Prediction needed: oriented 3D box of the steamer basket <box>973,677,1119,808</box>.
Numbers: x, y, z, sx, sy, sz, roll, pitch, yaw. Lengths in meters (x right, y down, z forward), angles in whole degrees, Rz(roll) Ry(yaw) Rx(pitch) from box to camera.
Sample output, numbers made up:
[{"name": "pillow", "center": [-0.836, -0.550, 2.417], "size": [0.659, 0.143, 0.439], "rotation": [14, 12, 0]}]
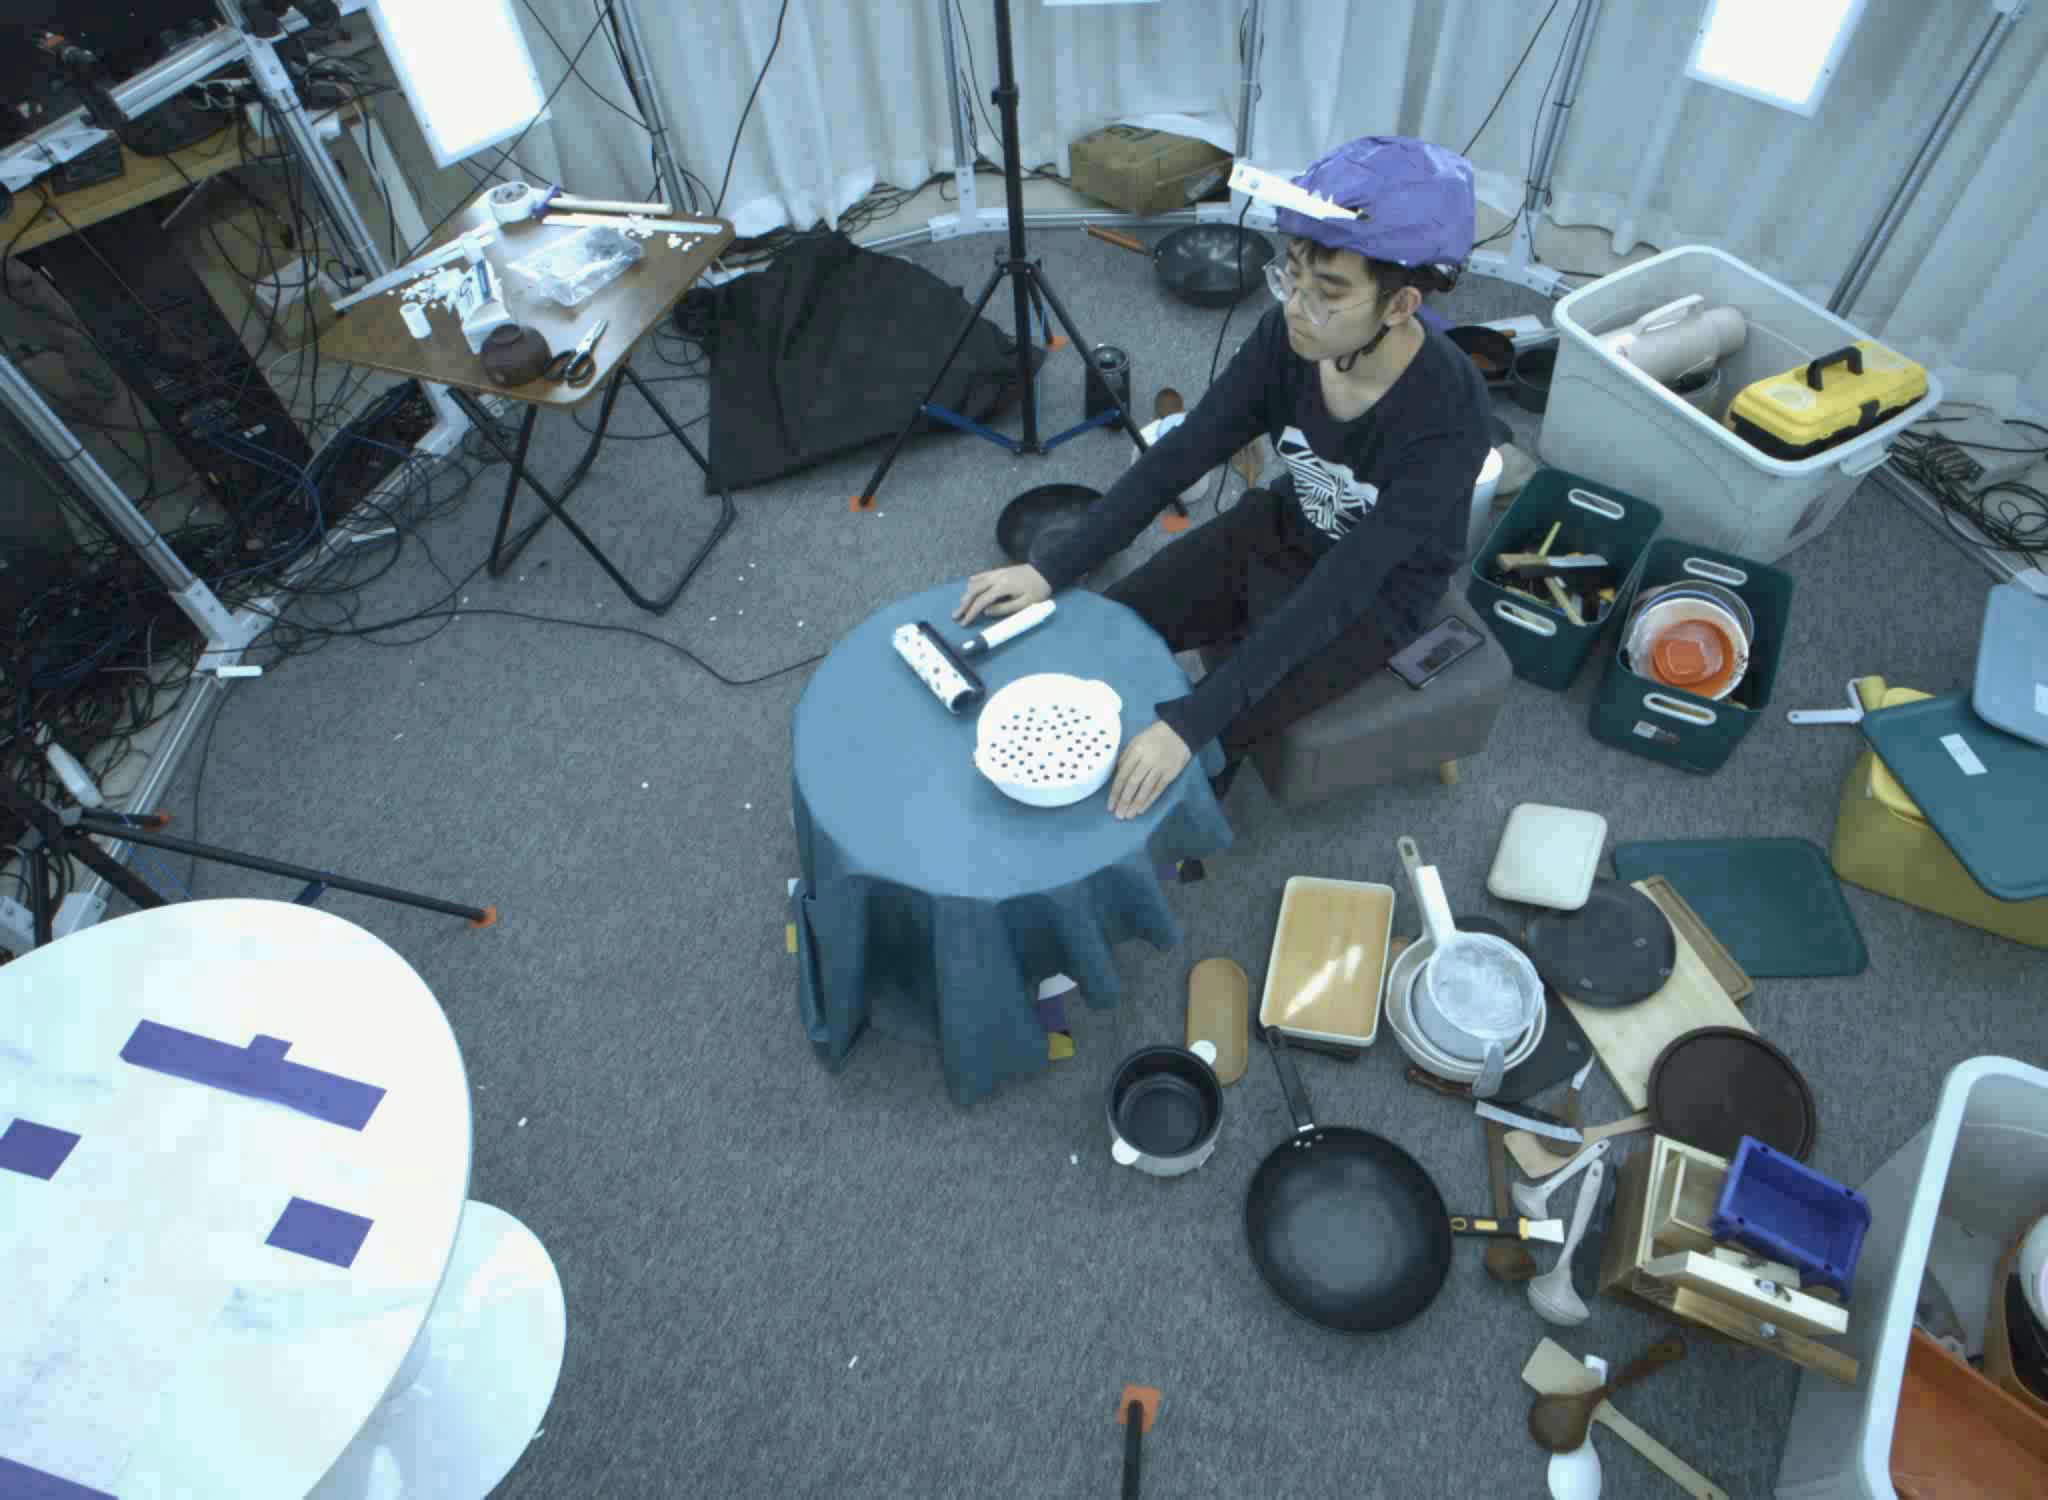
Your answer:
[{"name": "steamer basket", "center": [0.032, -0.009, 1.761], "size": [0.233, 0.070, 0.198], "rotation": [-30, 60, -22]}]

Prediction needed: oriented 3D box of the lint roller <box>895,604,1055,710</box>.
[{"name": "lint roller", "center": [-0.055, -0.174, 1.896], "size": [0.249, 0.051, 0.173], "rotation": [-31, 59, -22]}]
